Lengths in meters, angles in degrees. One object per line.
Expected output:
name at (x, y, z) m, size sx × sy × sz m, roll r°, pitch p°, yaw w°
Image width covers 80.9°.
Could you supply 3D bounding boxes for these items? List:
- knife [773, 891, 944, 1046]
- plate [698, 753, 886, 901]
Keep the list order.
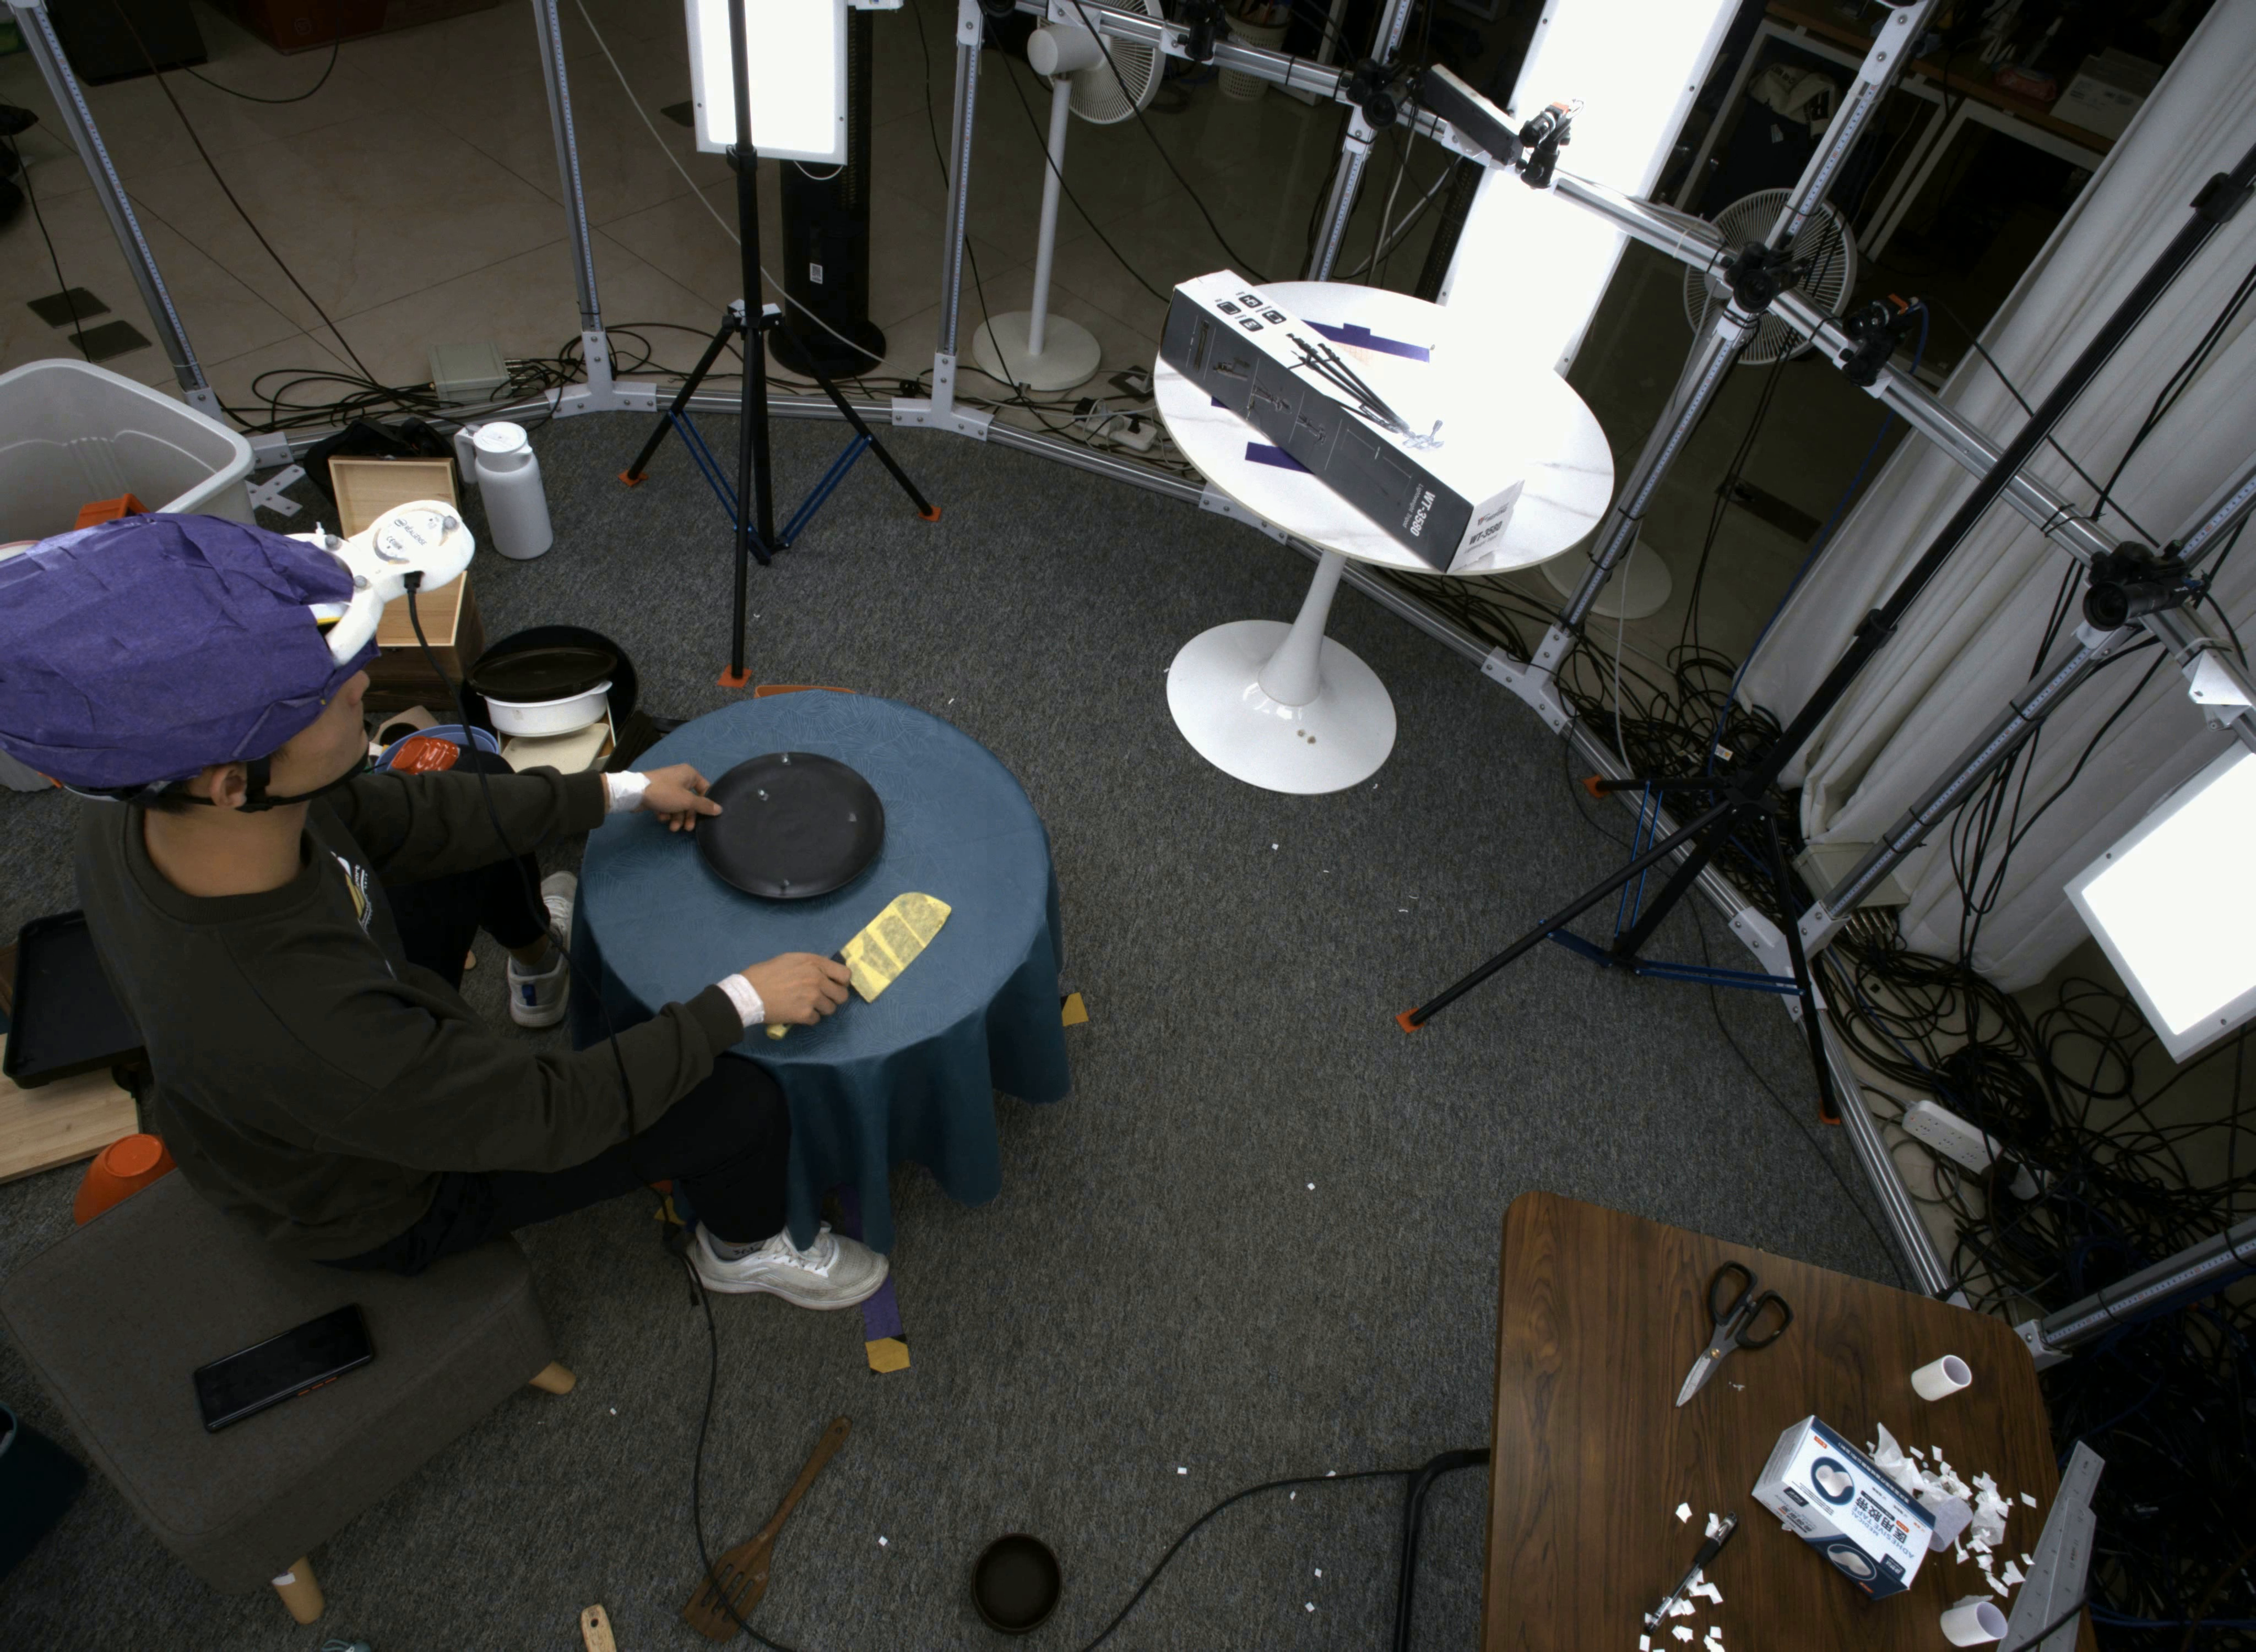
knife at (-0.325, 0.175, 1.606) m, size 0.082 × 0.027 × 0.289 m, roll 51°, pitch 53°, yaw -8°
plate at (-0.443, 0.001, 1.714) m, size 0.244 × 0.024 × 0.240 m, roll 8°, pitch 53°, yaw -9°
